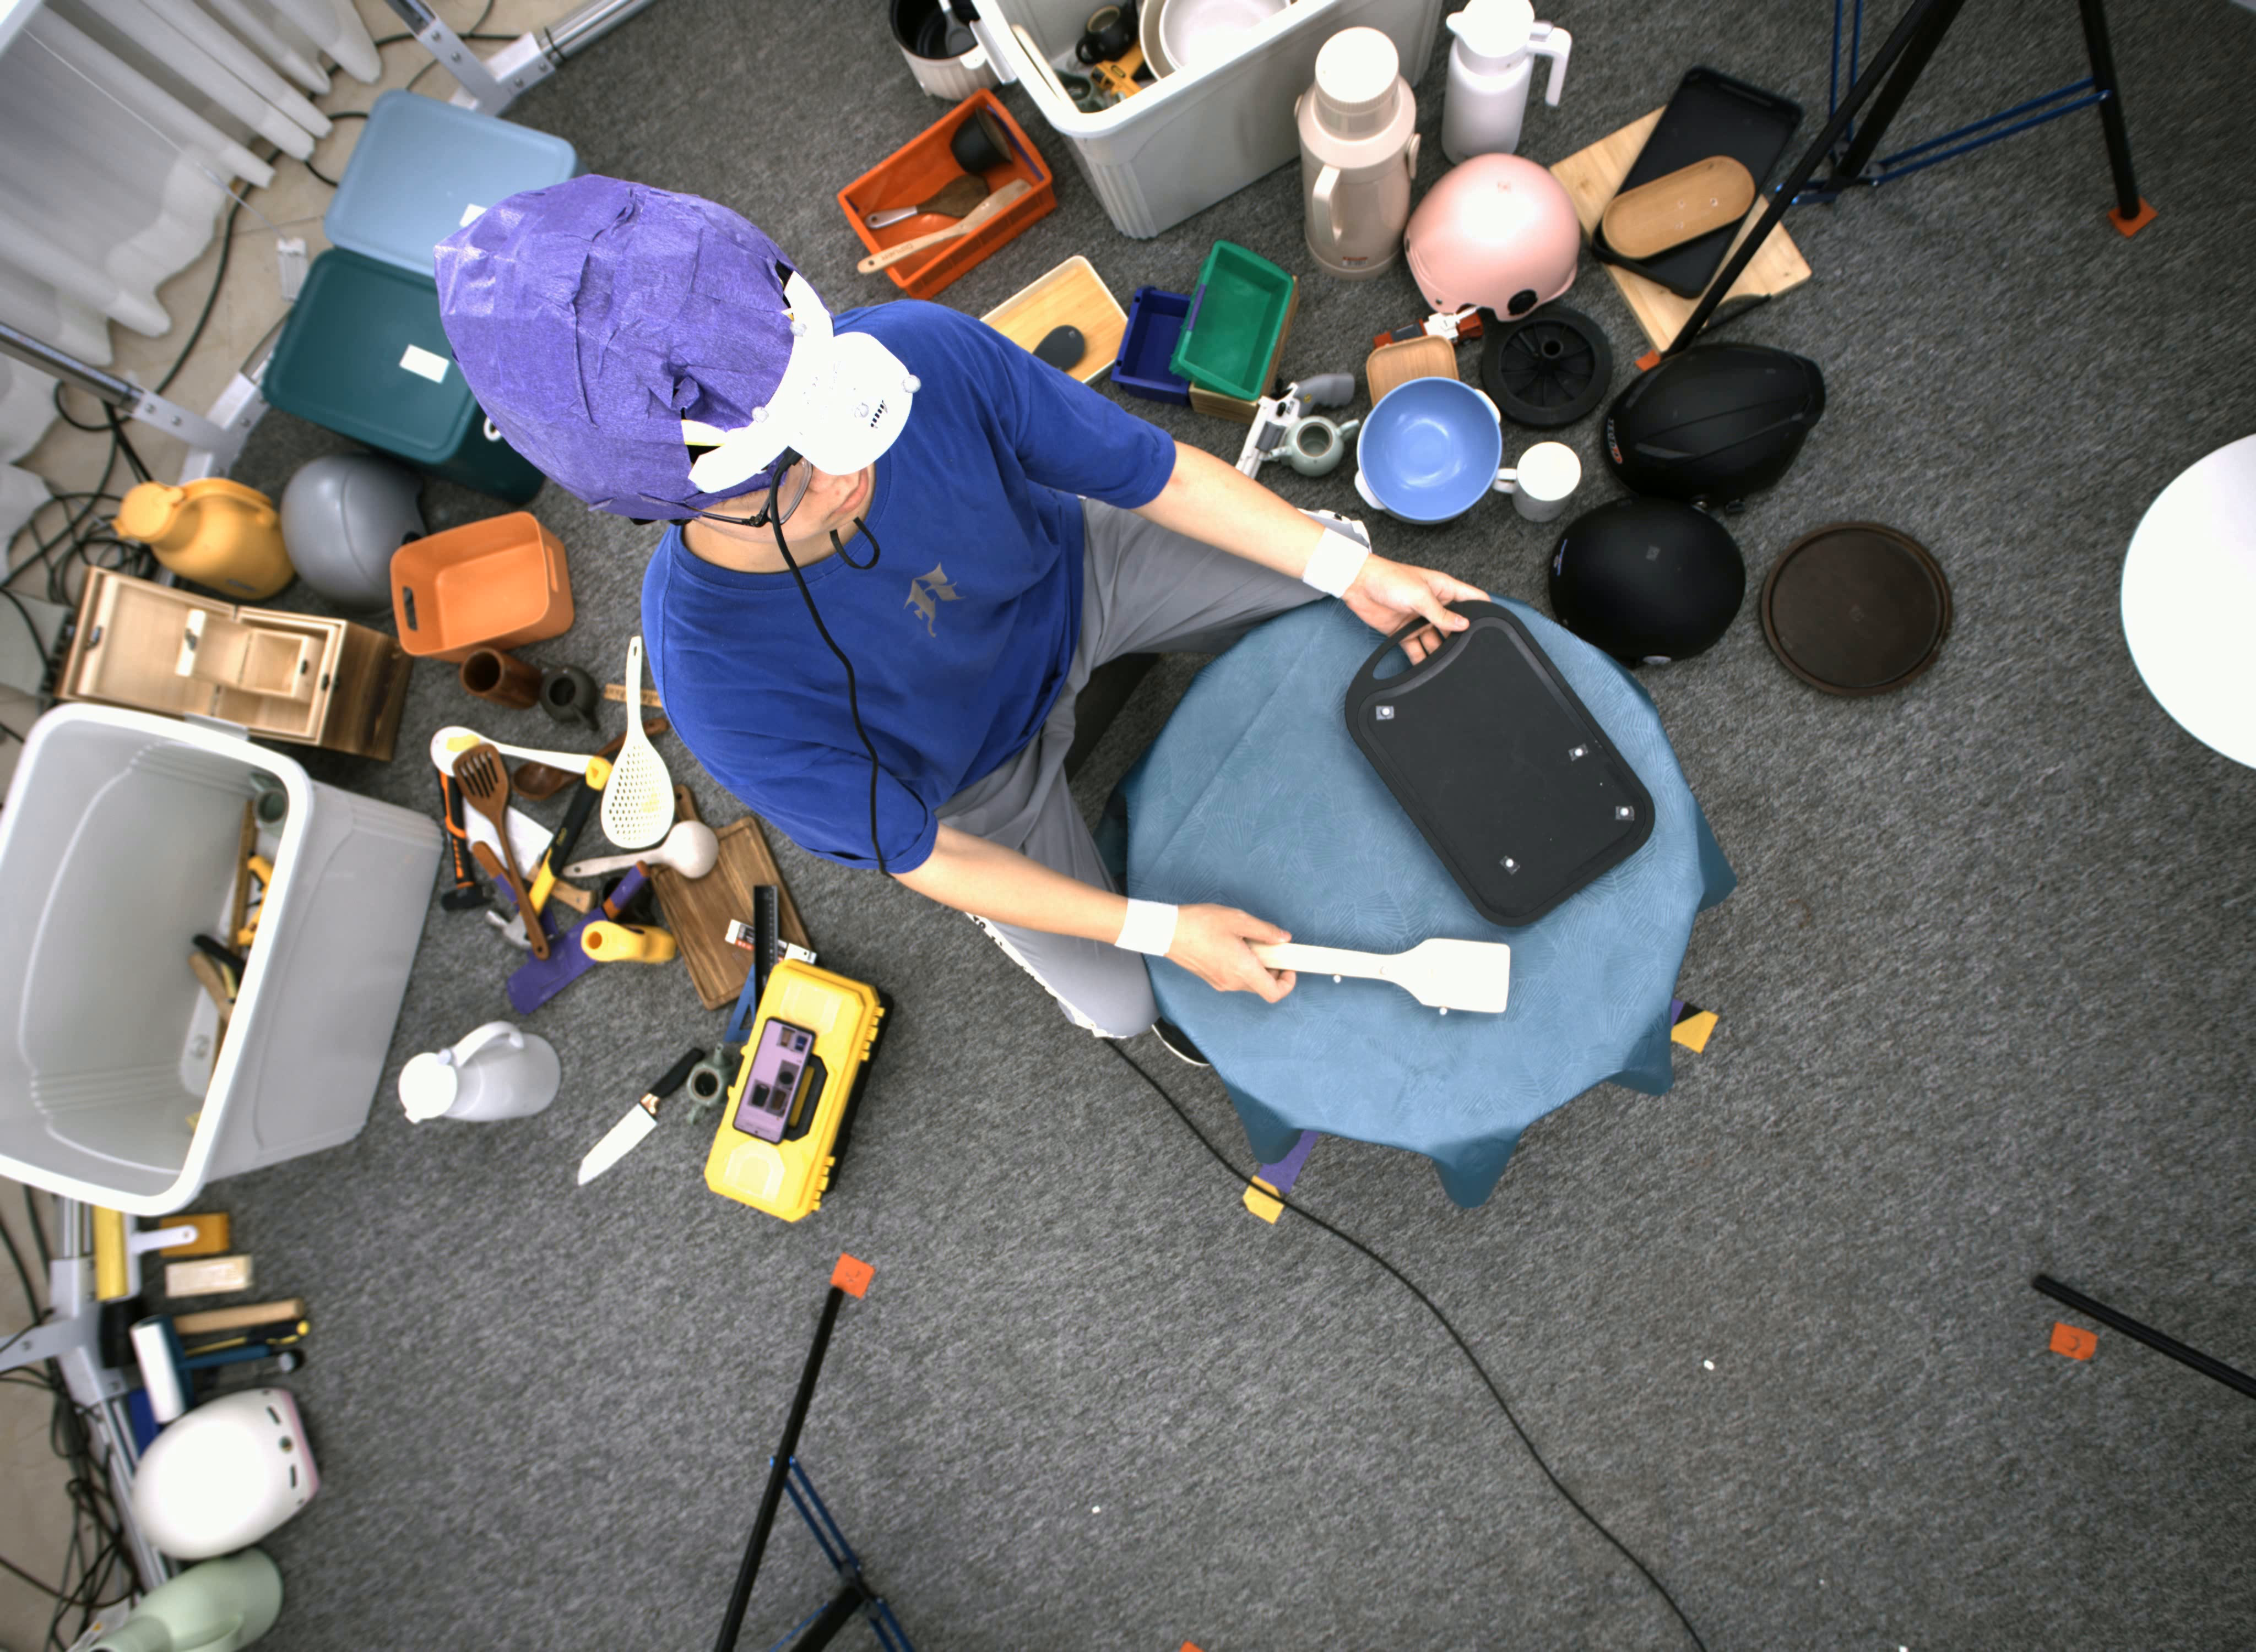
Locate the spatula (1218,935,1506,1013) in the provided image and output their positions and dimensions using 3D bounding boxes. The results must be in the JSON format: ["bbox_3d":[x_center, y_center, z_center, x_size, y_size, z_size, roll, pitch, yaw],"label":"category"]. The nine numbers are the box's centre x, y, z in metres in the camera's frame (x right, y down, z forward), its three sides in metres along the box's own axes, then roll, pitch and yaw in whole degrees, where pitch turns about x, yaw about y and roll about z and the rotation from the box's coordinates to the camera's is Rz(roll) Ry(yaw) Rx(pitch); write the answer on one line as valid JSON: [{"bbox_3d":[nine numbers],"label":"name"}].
[{"bbox_3d":[0.238,0.141,1.419,0.294,0.011,0.071,6,83,7],"label":"spatula"}]

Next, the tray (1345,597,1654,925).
[{"bbox_3d":[0.372,-0.075,1.399,0.212,0.010,0.324,-35,86,8],"label":"tray"}]
